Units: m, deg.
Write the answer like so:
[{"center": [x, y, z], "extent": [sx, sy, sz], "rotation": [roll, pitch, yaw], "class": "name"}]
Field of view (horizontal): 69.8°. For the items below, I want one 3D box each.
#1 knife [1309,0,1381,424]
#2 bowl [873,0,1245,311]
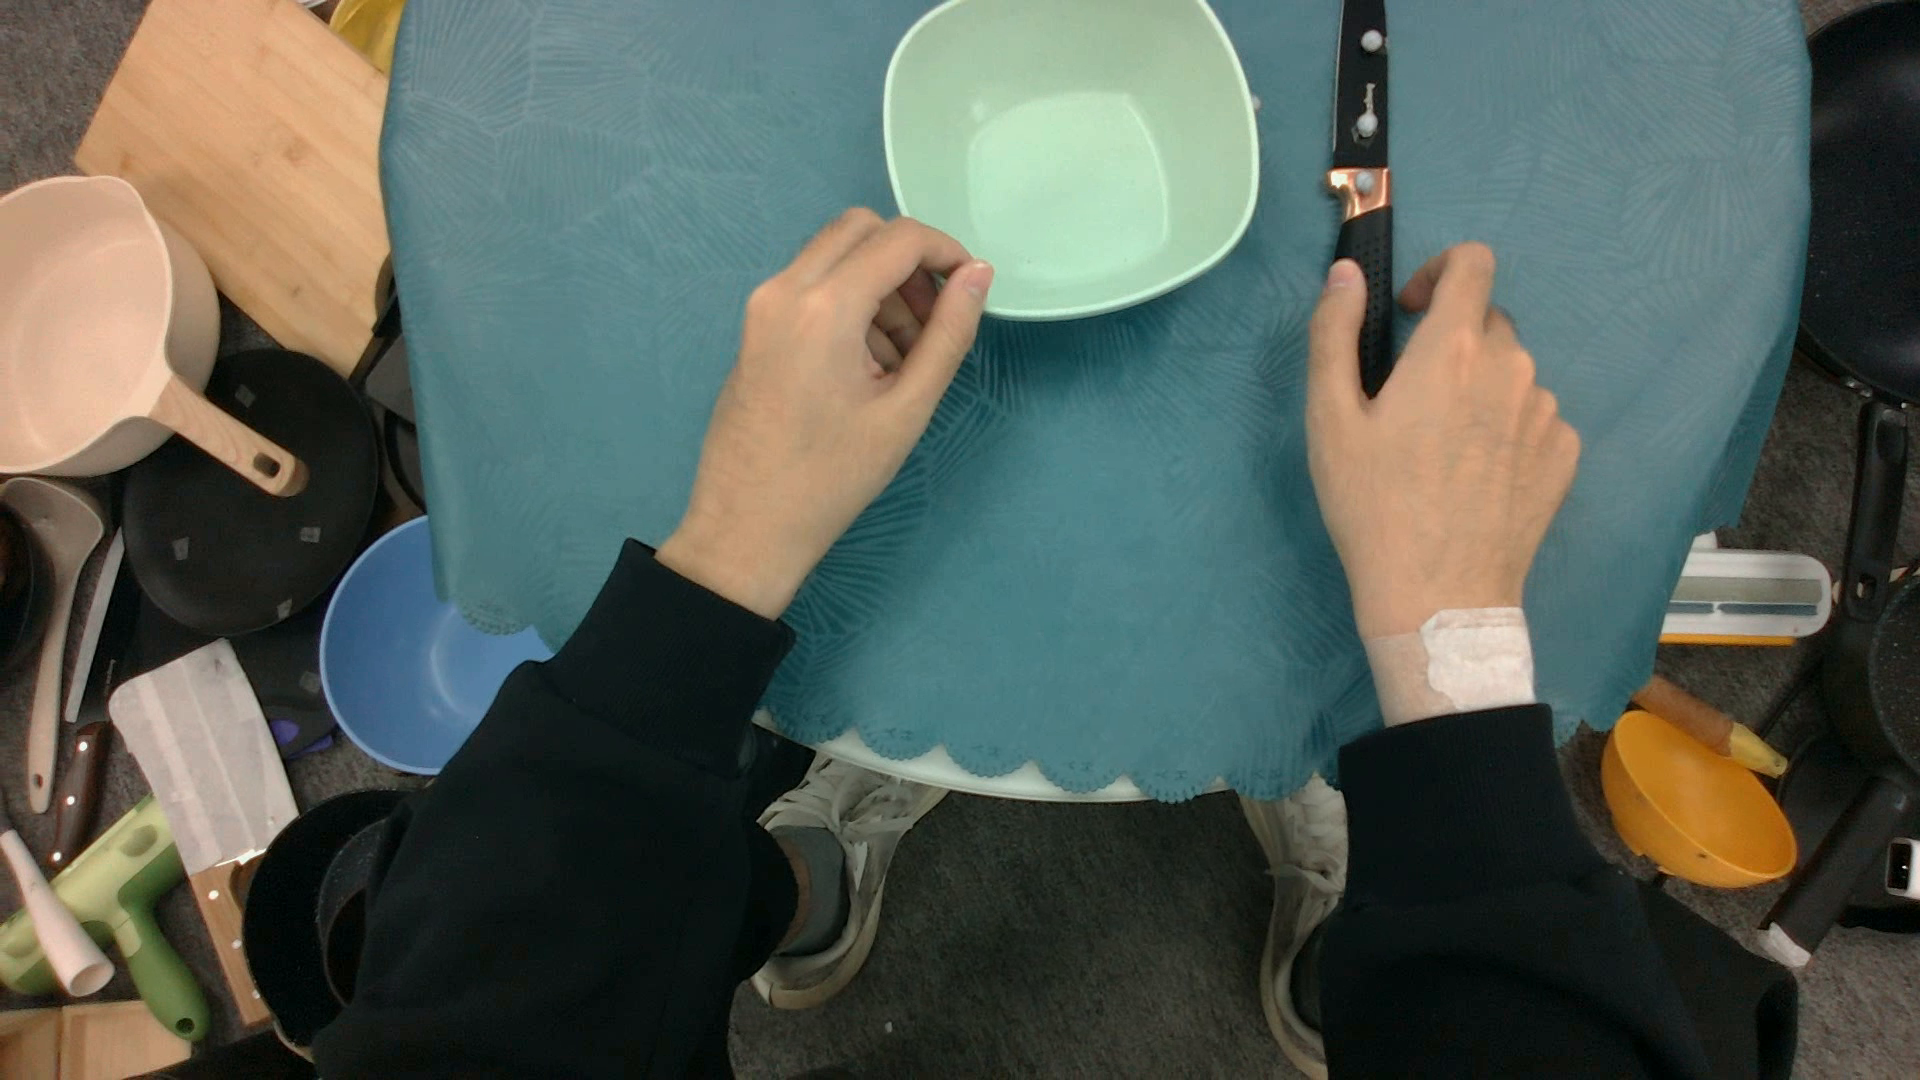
[{"center": [0.157, -0.157, 0.565], "extent": [0.026, 0.017, 0.226], "rotation": [-1, 79, 11], "class": "knife"}, {"center": [0.038, -0.151, 0.550], "extent": [0.151, 0.058, 0.151], "rotation": [0, 80, 2], "class": "bowl"}]
